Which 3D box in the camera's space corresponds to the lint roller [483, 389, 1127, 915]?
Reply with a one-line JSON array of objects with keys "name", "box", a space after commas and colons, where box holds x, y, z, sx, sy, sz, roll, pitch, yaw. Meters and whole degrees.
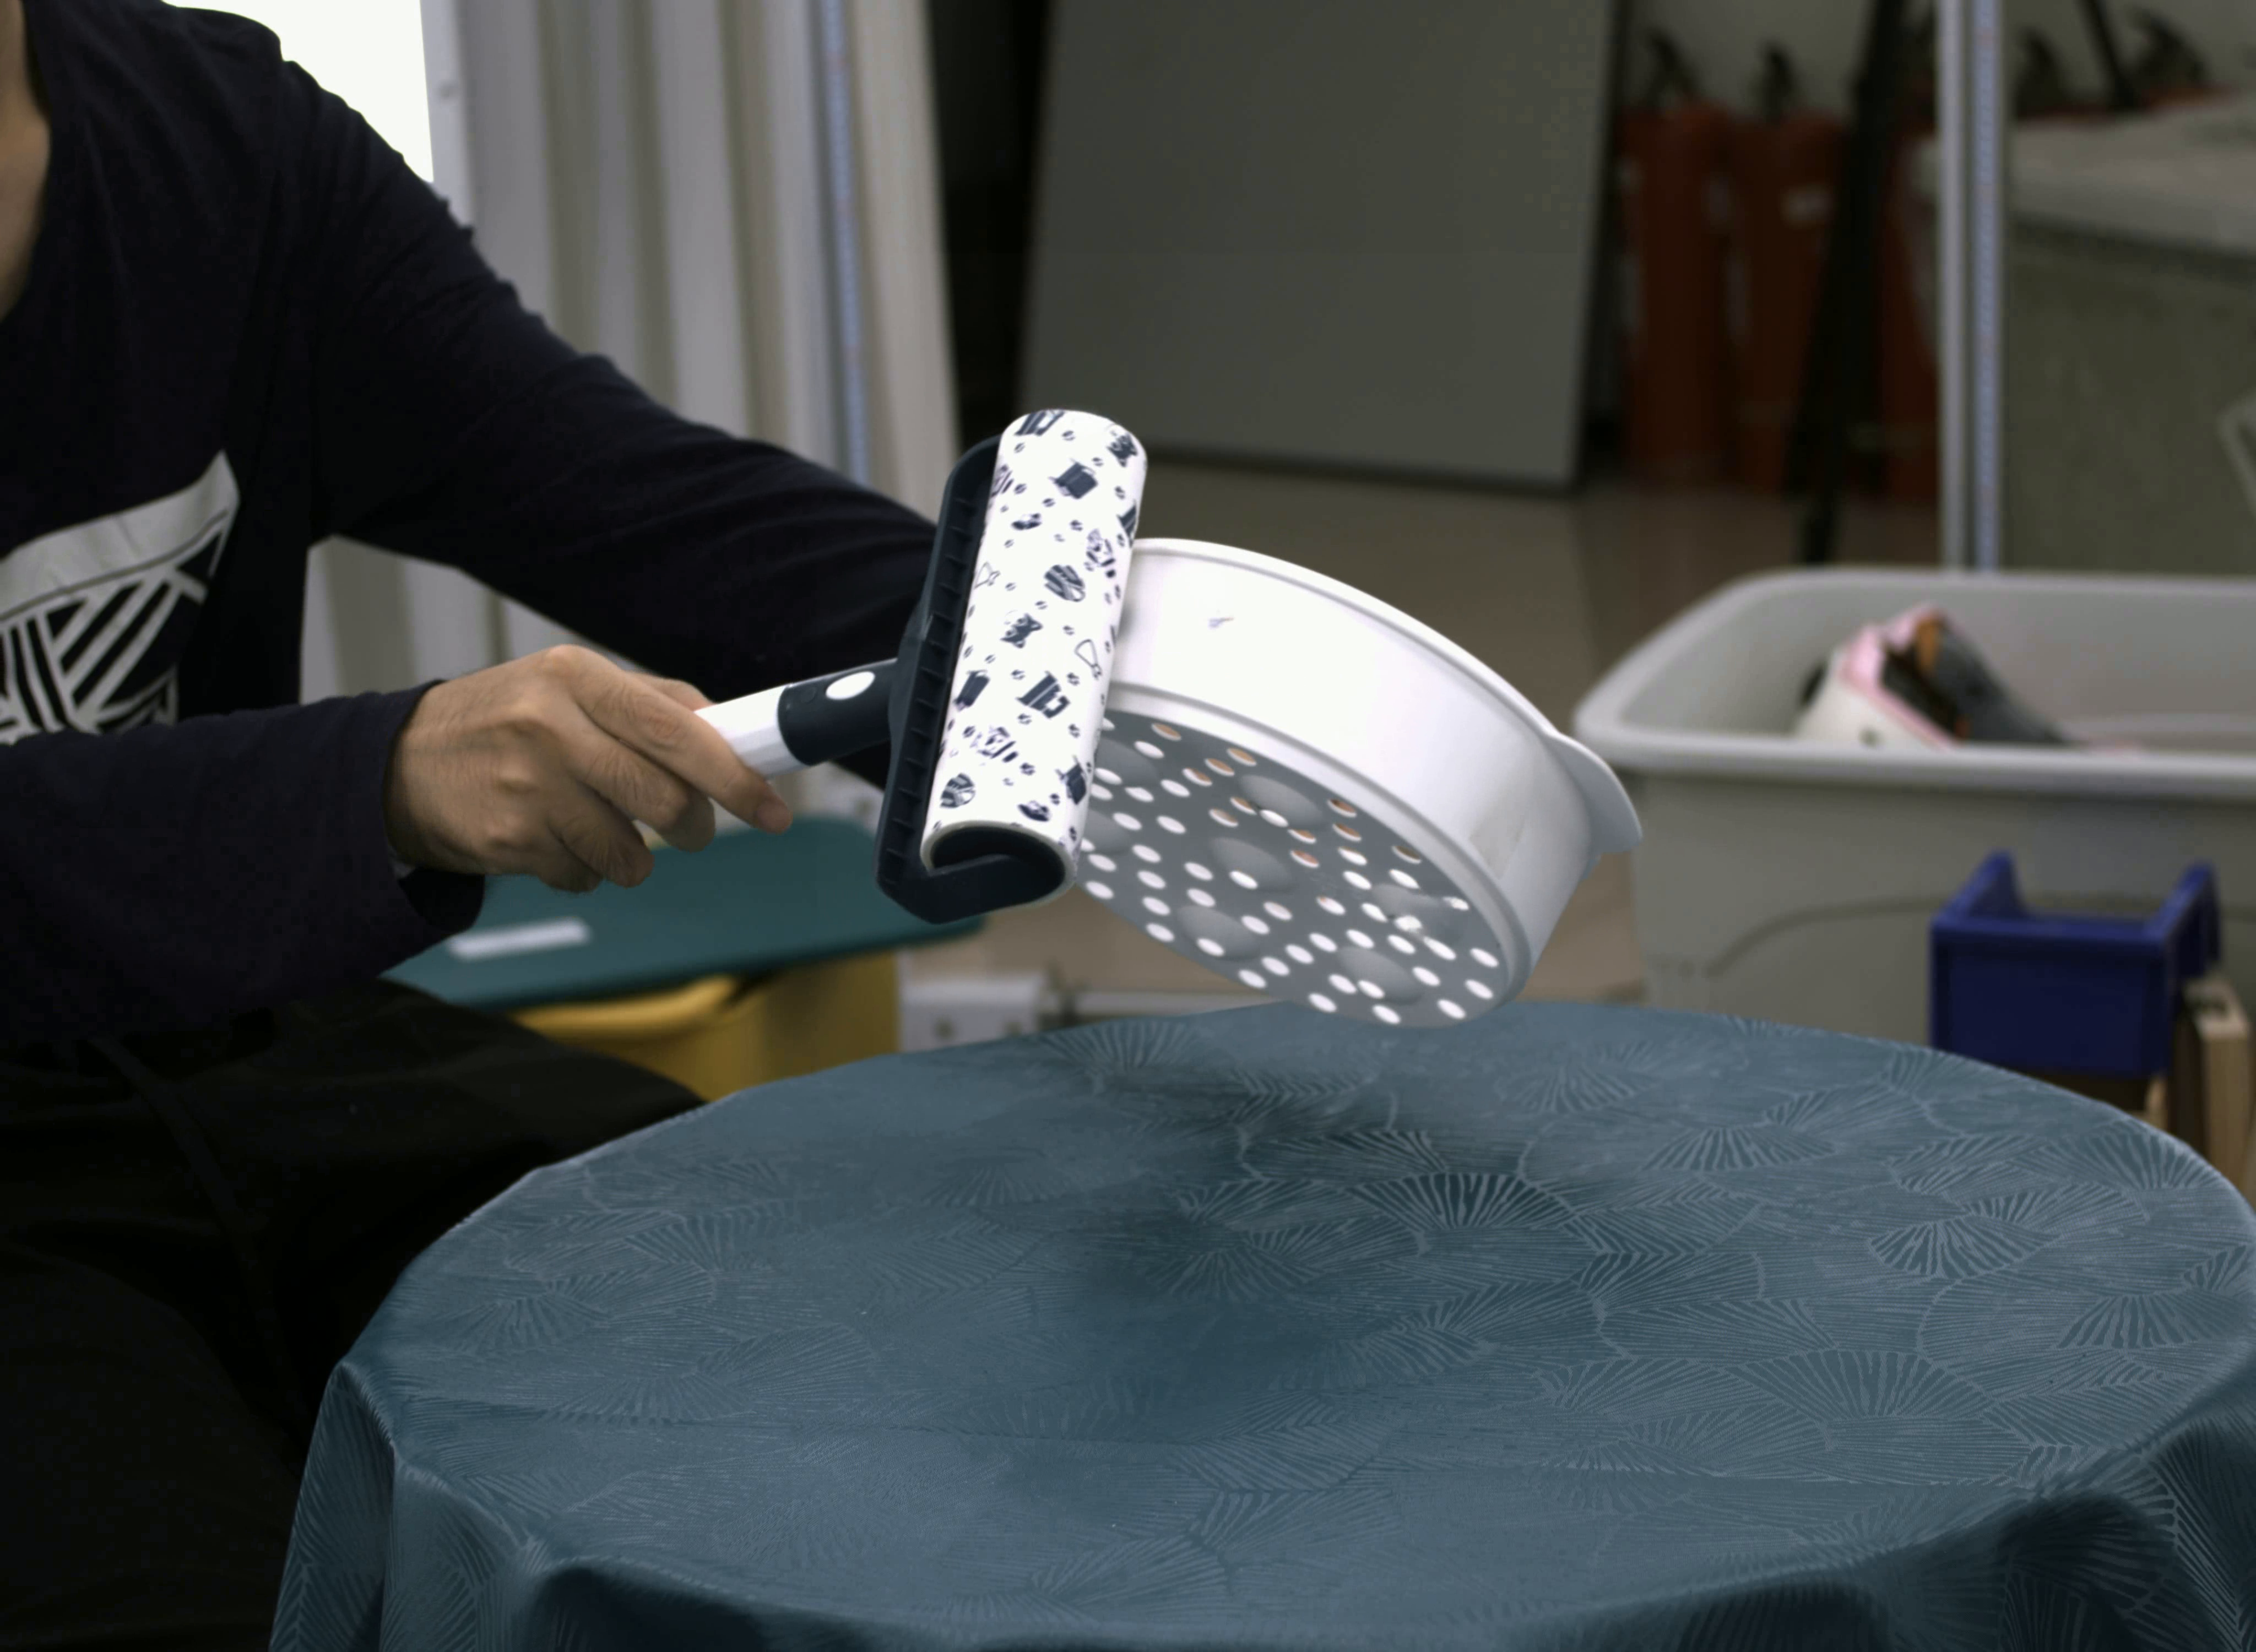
[{"name": "lint roller", "box": [-0.113, -0.032, 1.710, 0.248, 0.050, 0.177, -17, 48, 32]}]

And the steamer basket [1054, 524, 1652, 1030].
[{"name": "steamer basket", "box": [0.053, -0.010, 1.733, 0.232, 0.200, 0.069, 14, 64, 31]}]
